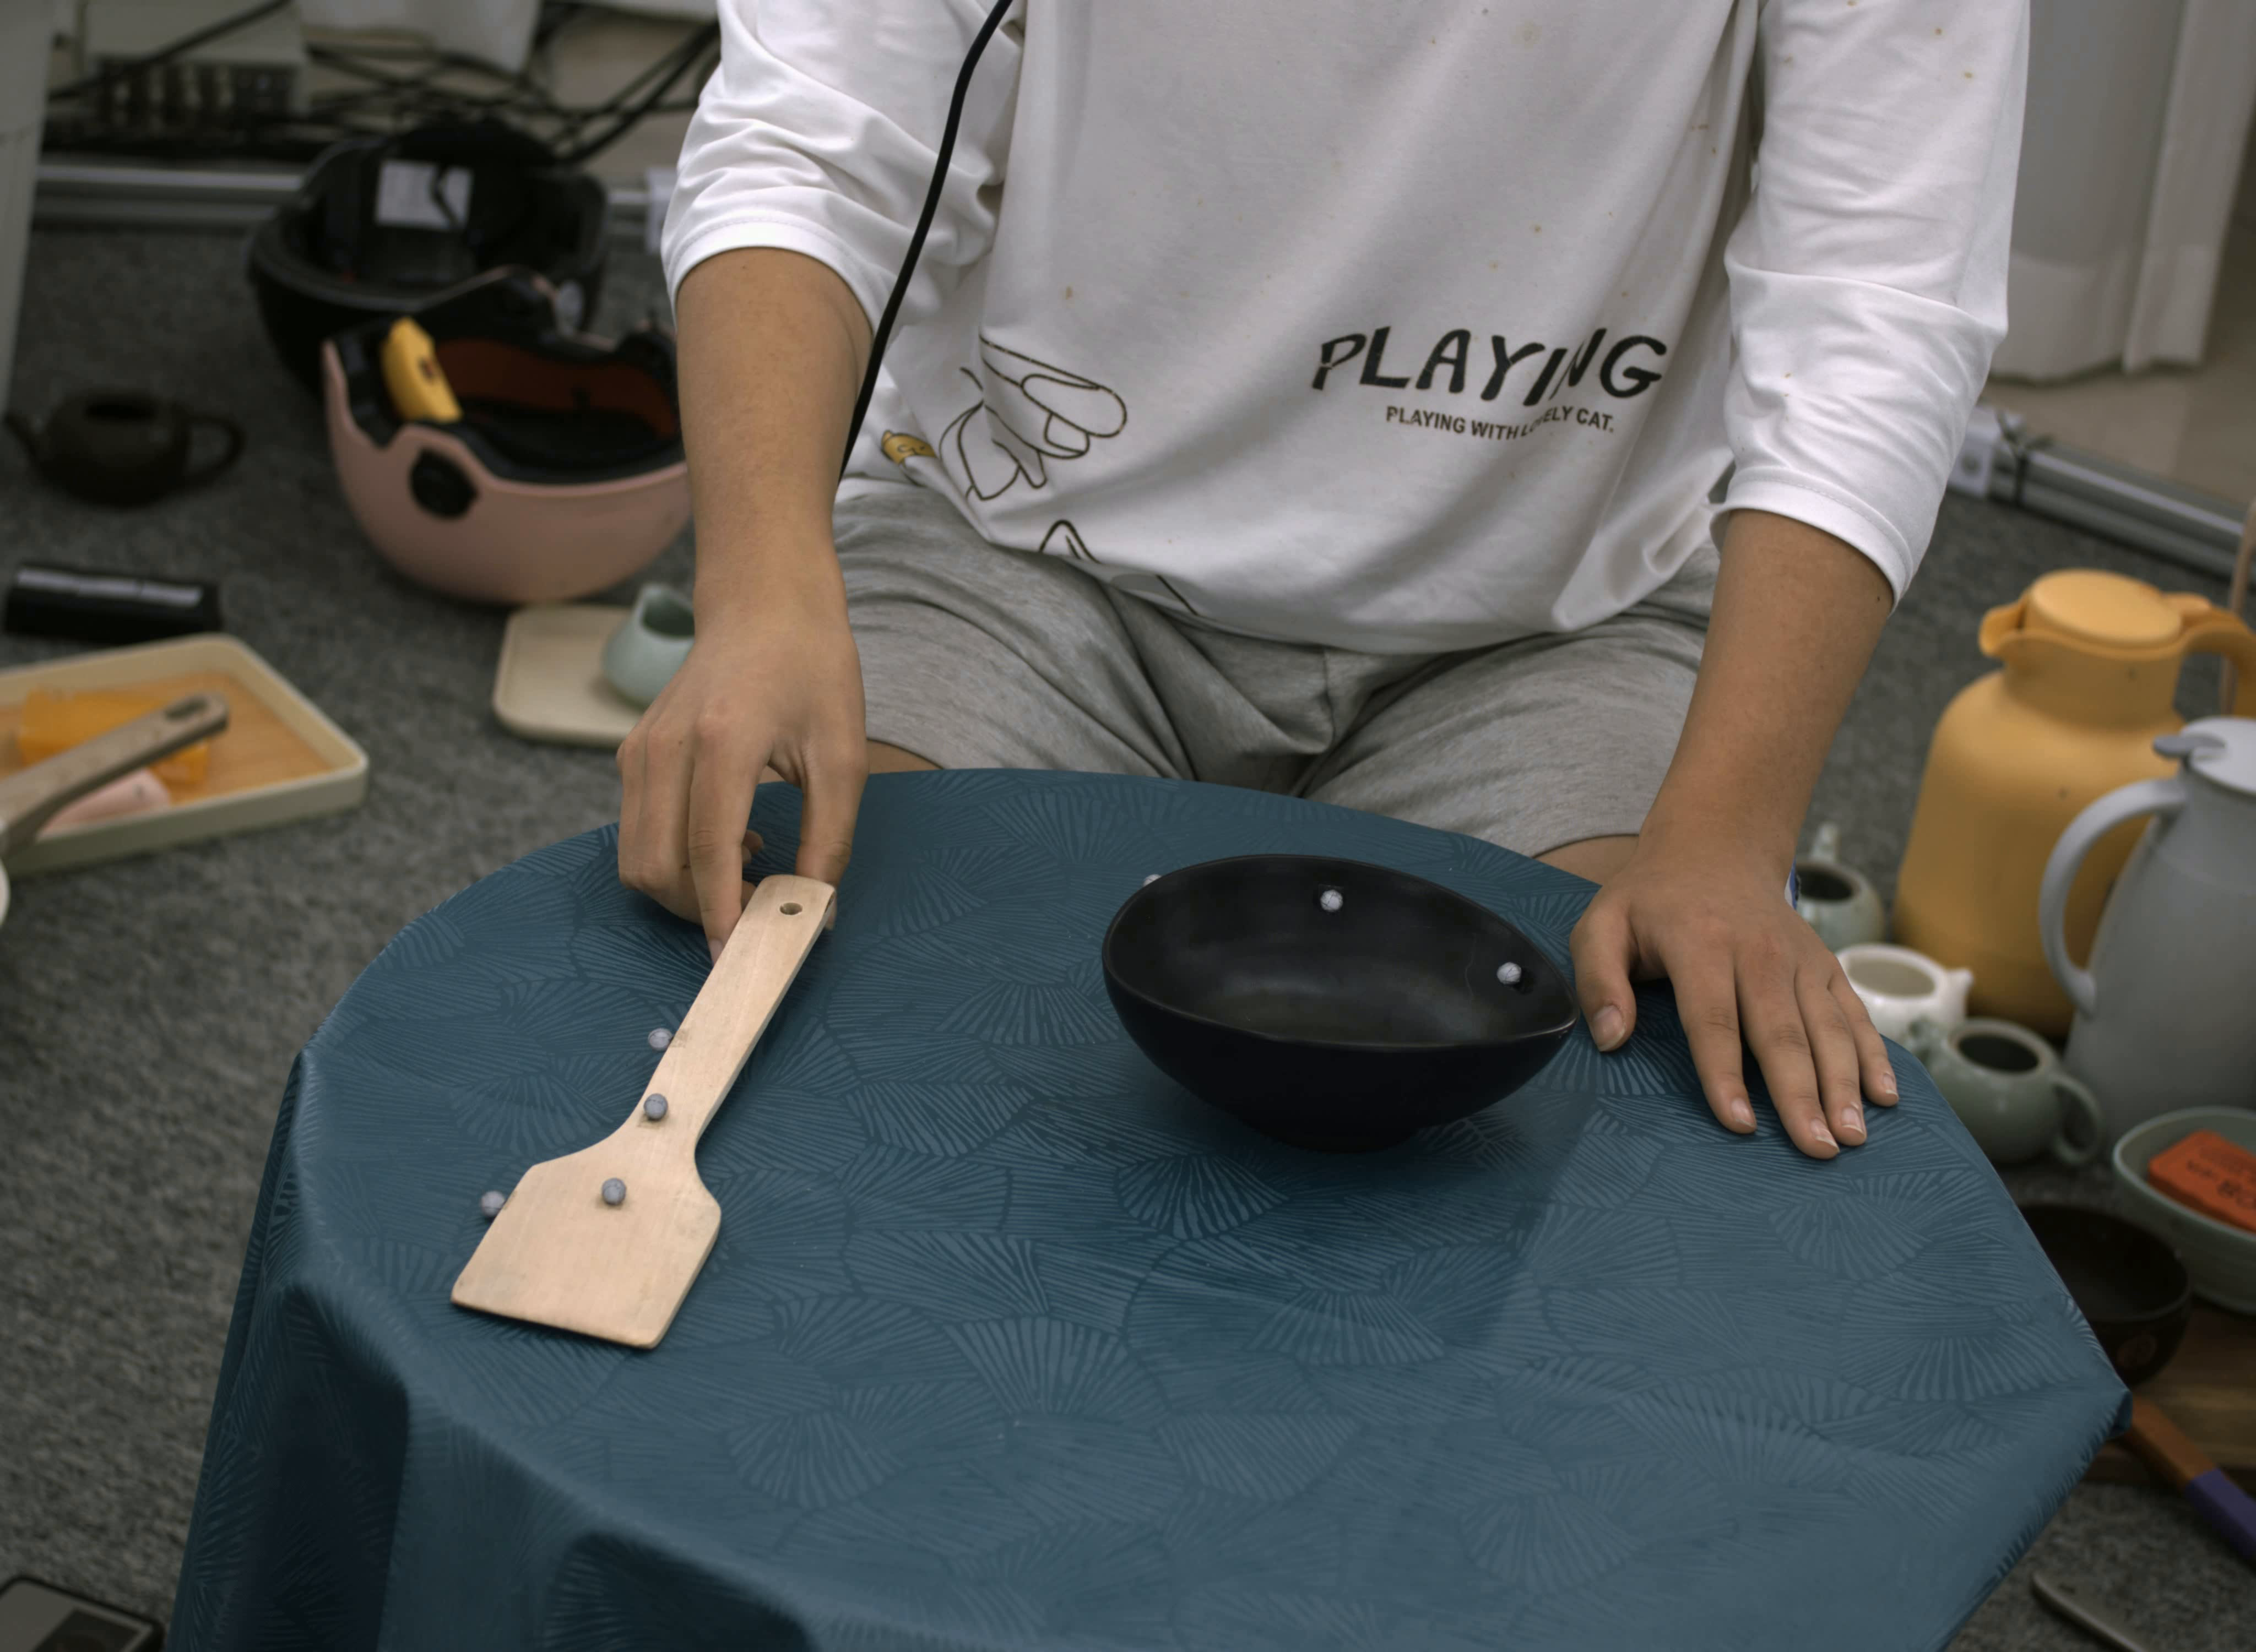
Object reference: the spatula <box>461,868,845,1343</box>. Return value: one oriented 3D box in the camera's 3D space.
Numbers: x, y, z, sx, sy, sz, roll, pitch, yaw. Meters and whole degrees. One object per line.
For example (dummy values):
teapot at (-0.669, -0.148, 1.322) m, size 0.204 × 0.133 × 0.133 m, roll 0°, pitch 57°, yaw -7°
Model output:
spatula at (-0.149, 0.089, 1.814) m, size 0.072 × 0.010 × 0.294 m, roll 11°, pitch 31°, yaw 9°

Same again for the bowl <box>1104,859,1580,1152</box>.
bowl at (0.071, 0.069, 1.860) m, size 0.169 × 0.066 × 0.138 m, roll 3°, pitch 26°, yaw -12°
